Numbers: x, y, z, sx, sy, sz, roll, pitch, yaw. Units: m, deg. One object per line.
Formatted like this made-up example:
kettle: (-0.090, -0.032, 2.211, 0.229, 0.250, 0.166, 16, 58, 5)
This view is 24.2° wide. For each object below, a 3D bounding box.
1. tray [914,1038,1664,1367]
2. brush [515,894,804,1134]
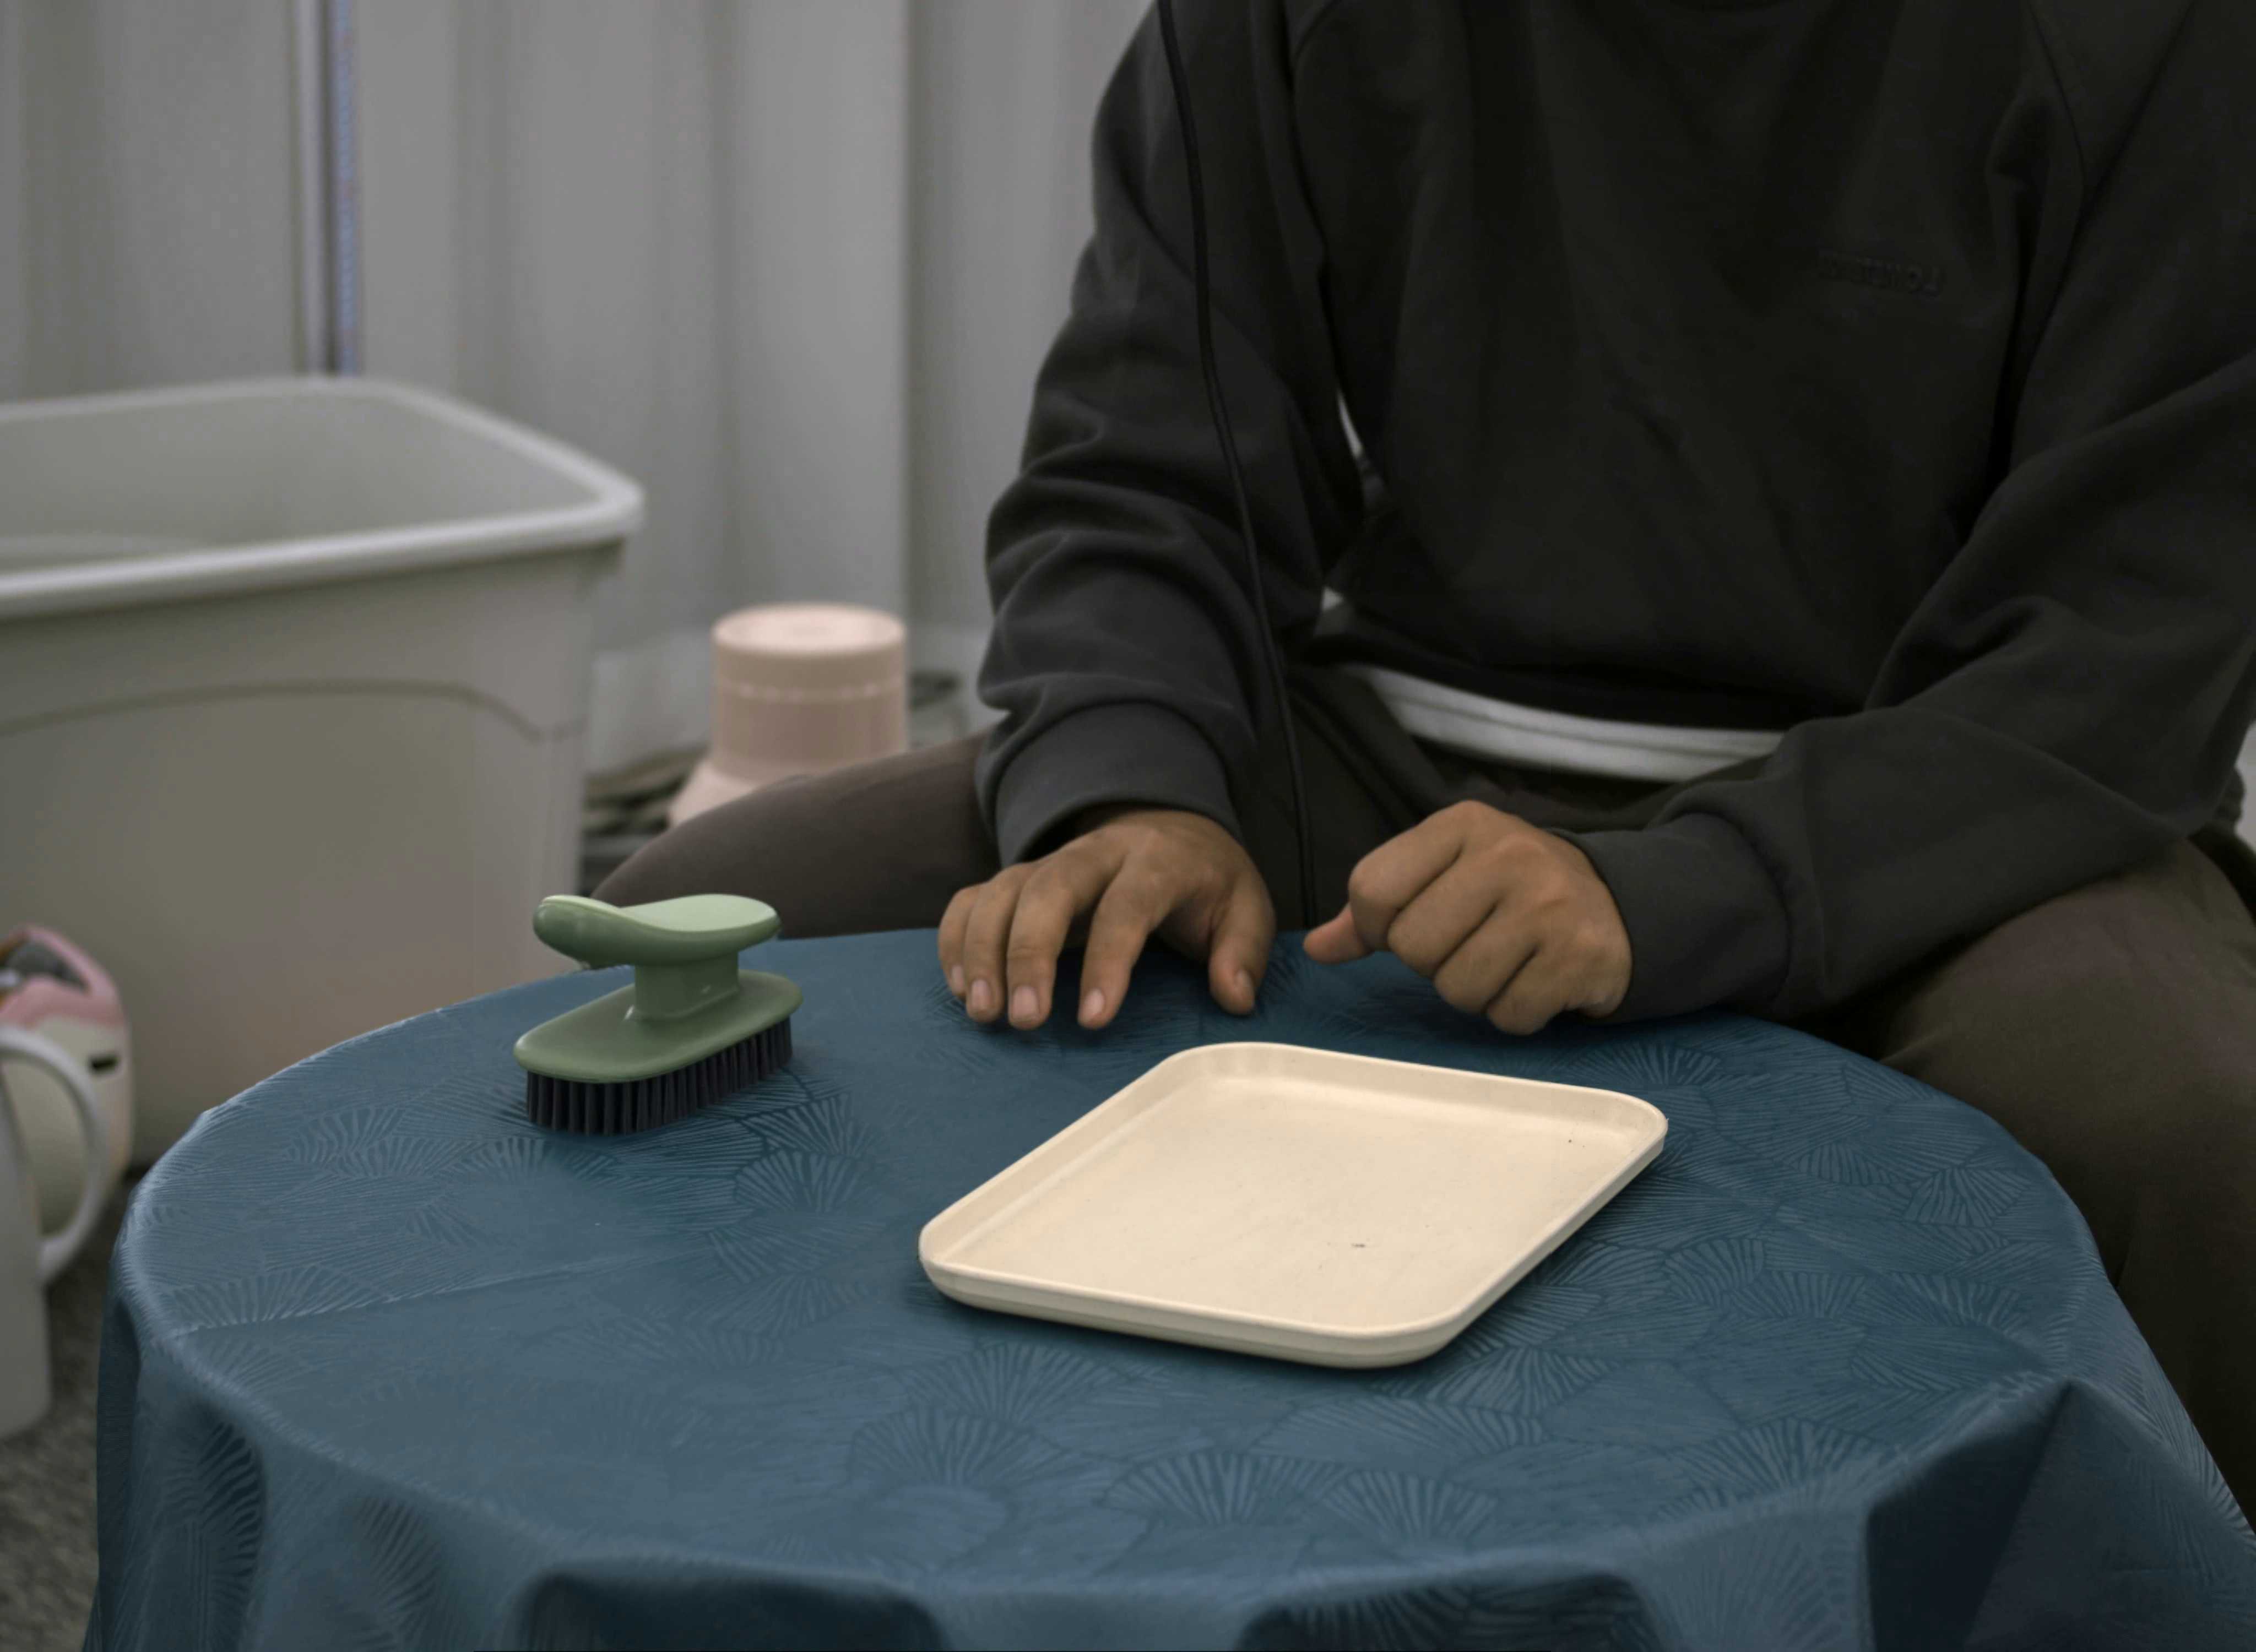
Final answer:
tray: (0.053, 0.112, 1.595, 0.169, 0.017, 0.240, 8, 17, 23)
brush: (-0.152, 0.060, 1.710, 0.059, 0.076, 0.124, 10, 4, 27)
